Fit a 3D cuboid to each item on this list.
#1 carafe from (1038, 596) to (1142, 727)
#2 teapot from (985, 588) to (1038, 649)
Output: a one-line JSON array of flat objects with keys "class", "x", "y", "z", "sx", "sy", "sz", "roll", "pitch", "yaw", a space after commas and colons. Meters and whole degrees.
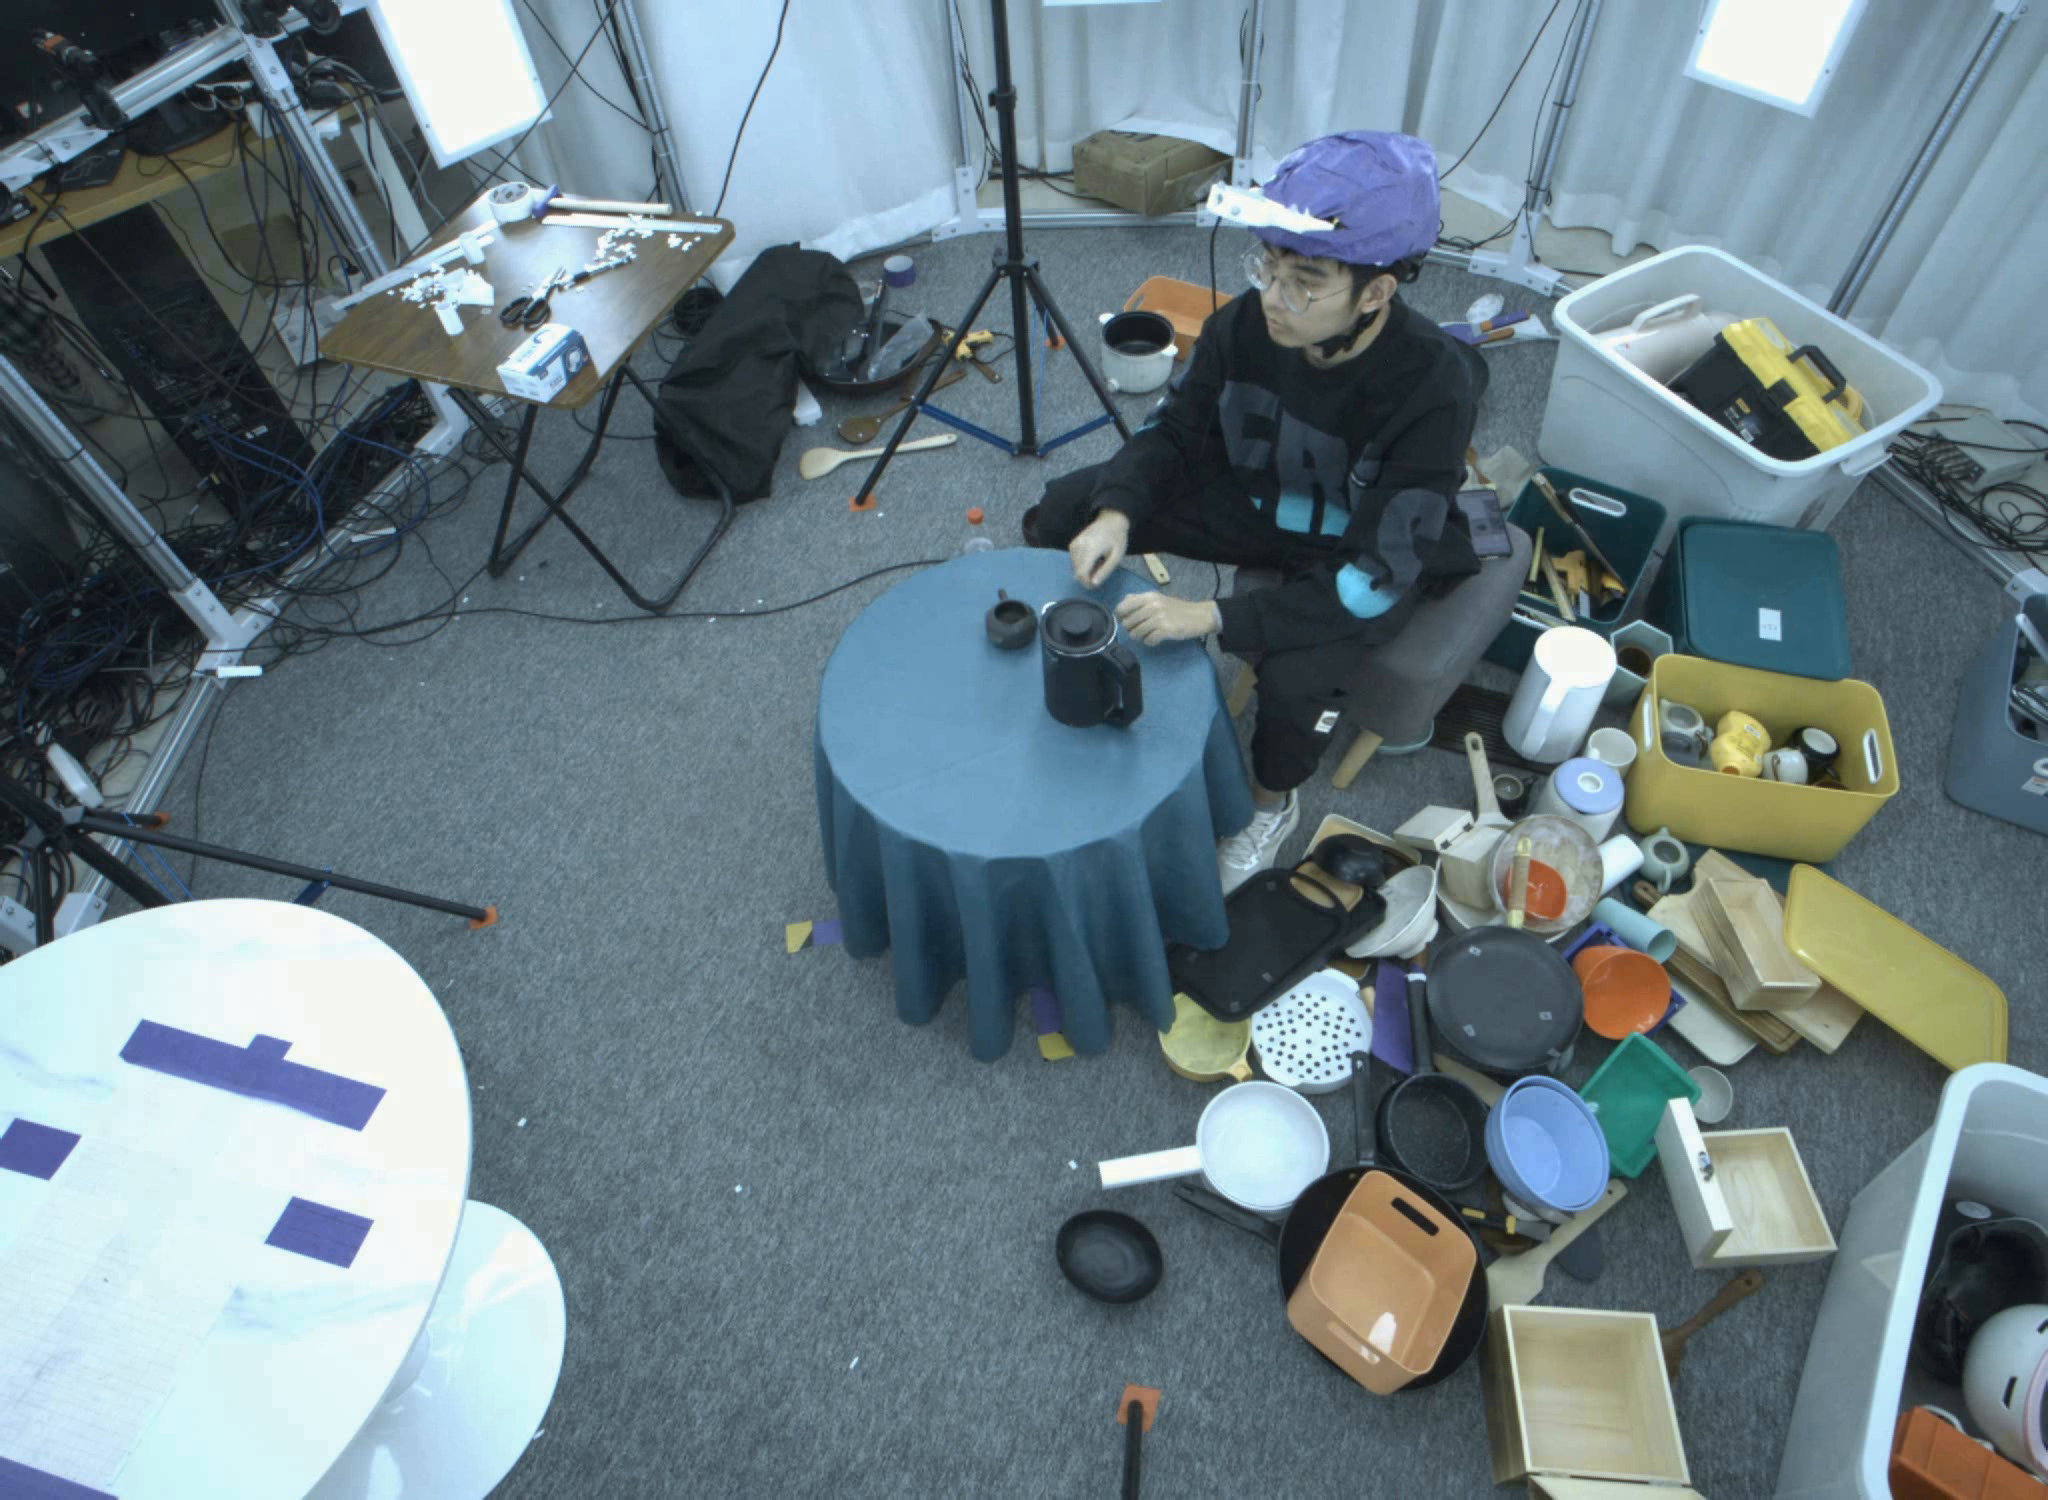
[{"class": "carafe", "x": 0.096, "y": -0.118, "z": 1.758, "sx": 0.168, "sy": 0.175, "sz": 0.115, "roll": 35, "pitch": 62, "yaw": 27}, {"class": "teapot", "x": -0.022, "y": -0.205, "z": 1.898, "sx": 0.083, "sy": 0.053, "sz": 0.112, "roll": -10, "pitch": 58, "yaw": -5}]
